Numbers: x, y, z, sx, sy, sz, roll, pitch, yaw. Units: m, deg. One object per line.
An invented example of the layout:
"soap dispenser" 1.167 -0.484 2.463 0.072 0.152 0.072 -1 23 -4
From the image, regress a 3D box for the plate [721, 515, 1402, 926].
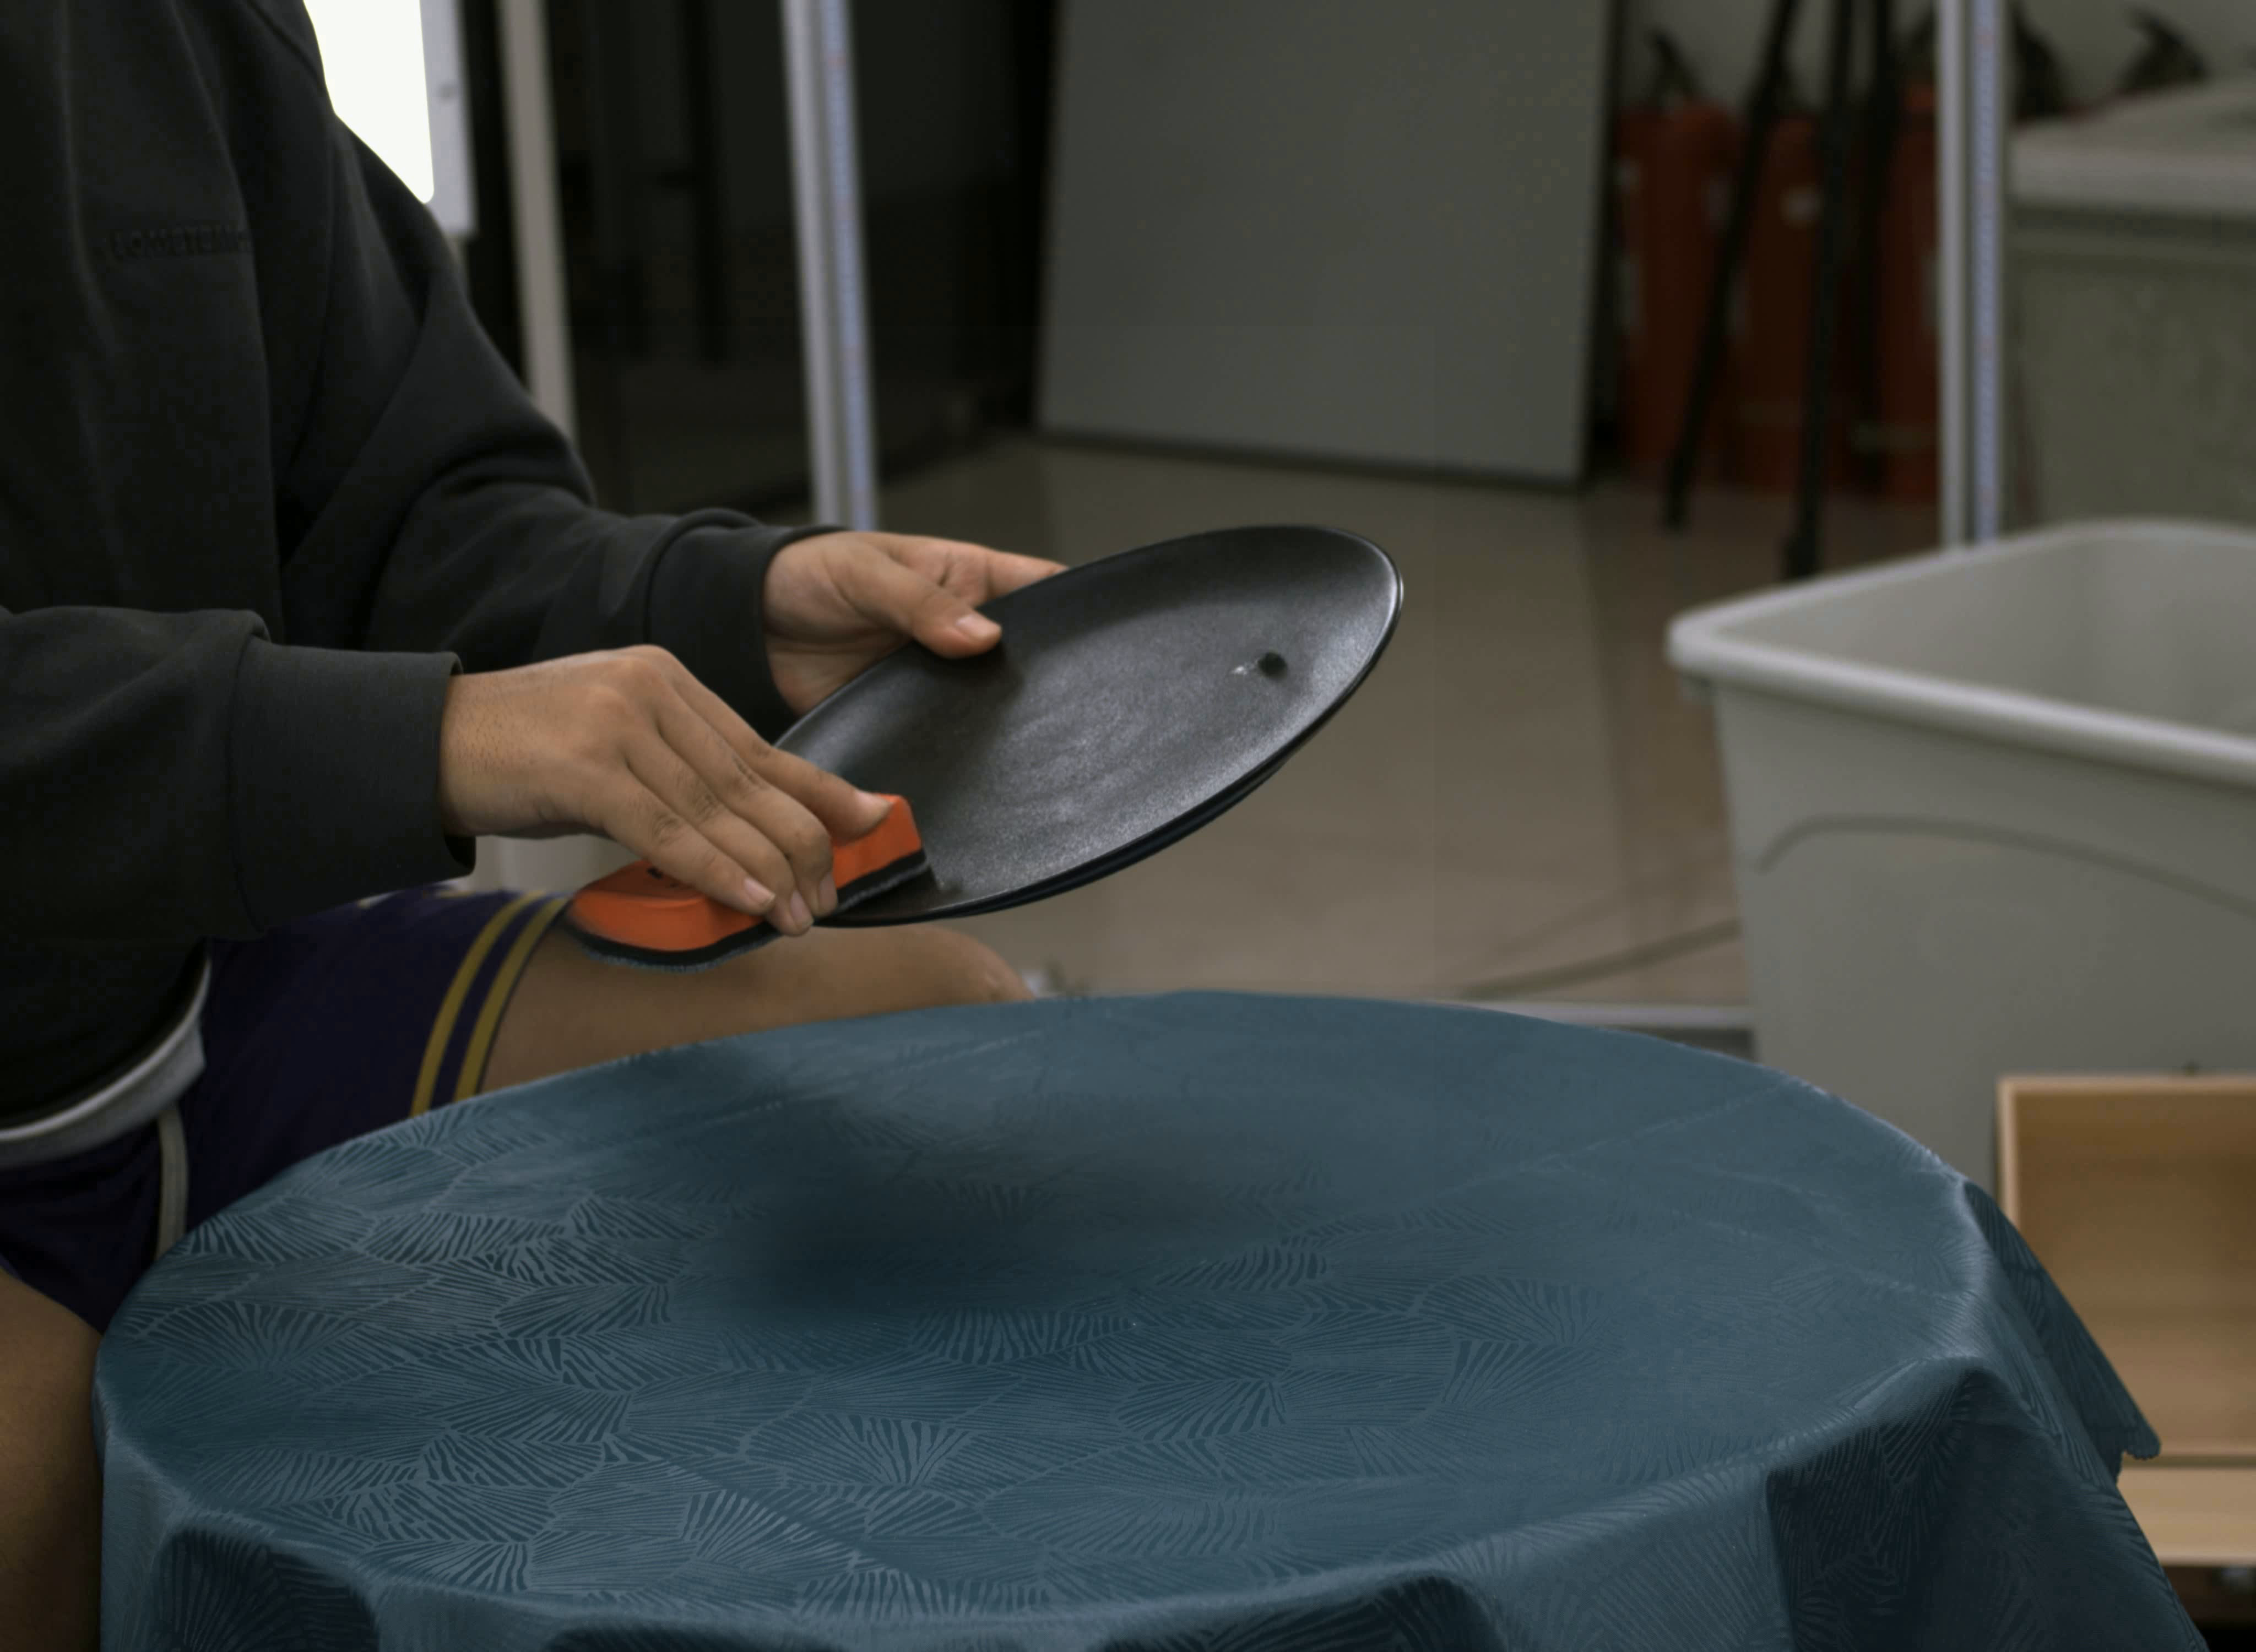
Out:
"plate" -0.020 -0.029 1.751 0.243 0.023 0.245 -22 23 9

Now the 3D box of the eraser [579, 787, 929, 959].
"eraser" -0.116 0.014 1.691 0.059 0.023 0.106 5 20 45
